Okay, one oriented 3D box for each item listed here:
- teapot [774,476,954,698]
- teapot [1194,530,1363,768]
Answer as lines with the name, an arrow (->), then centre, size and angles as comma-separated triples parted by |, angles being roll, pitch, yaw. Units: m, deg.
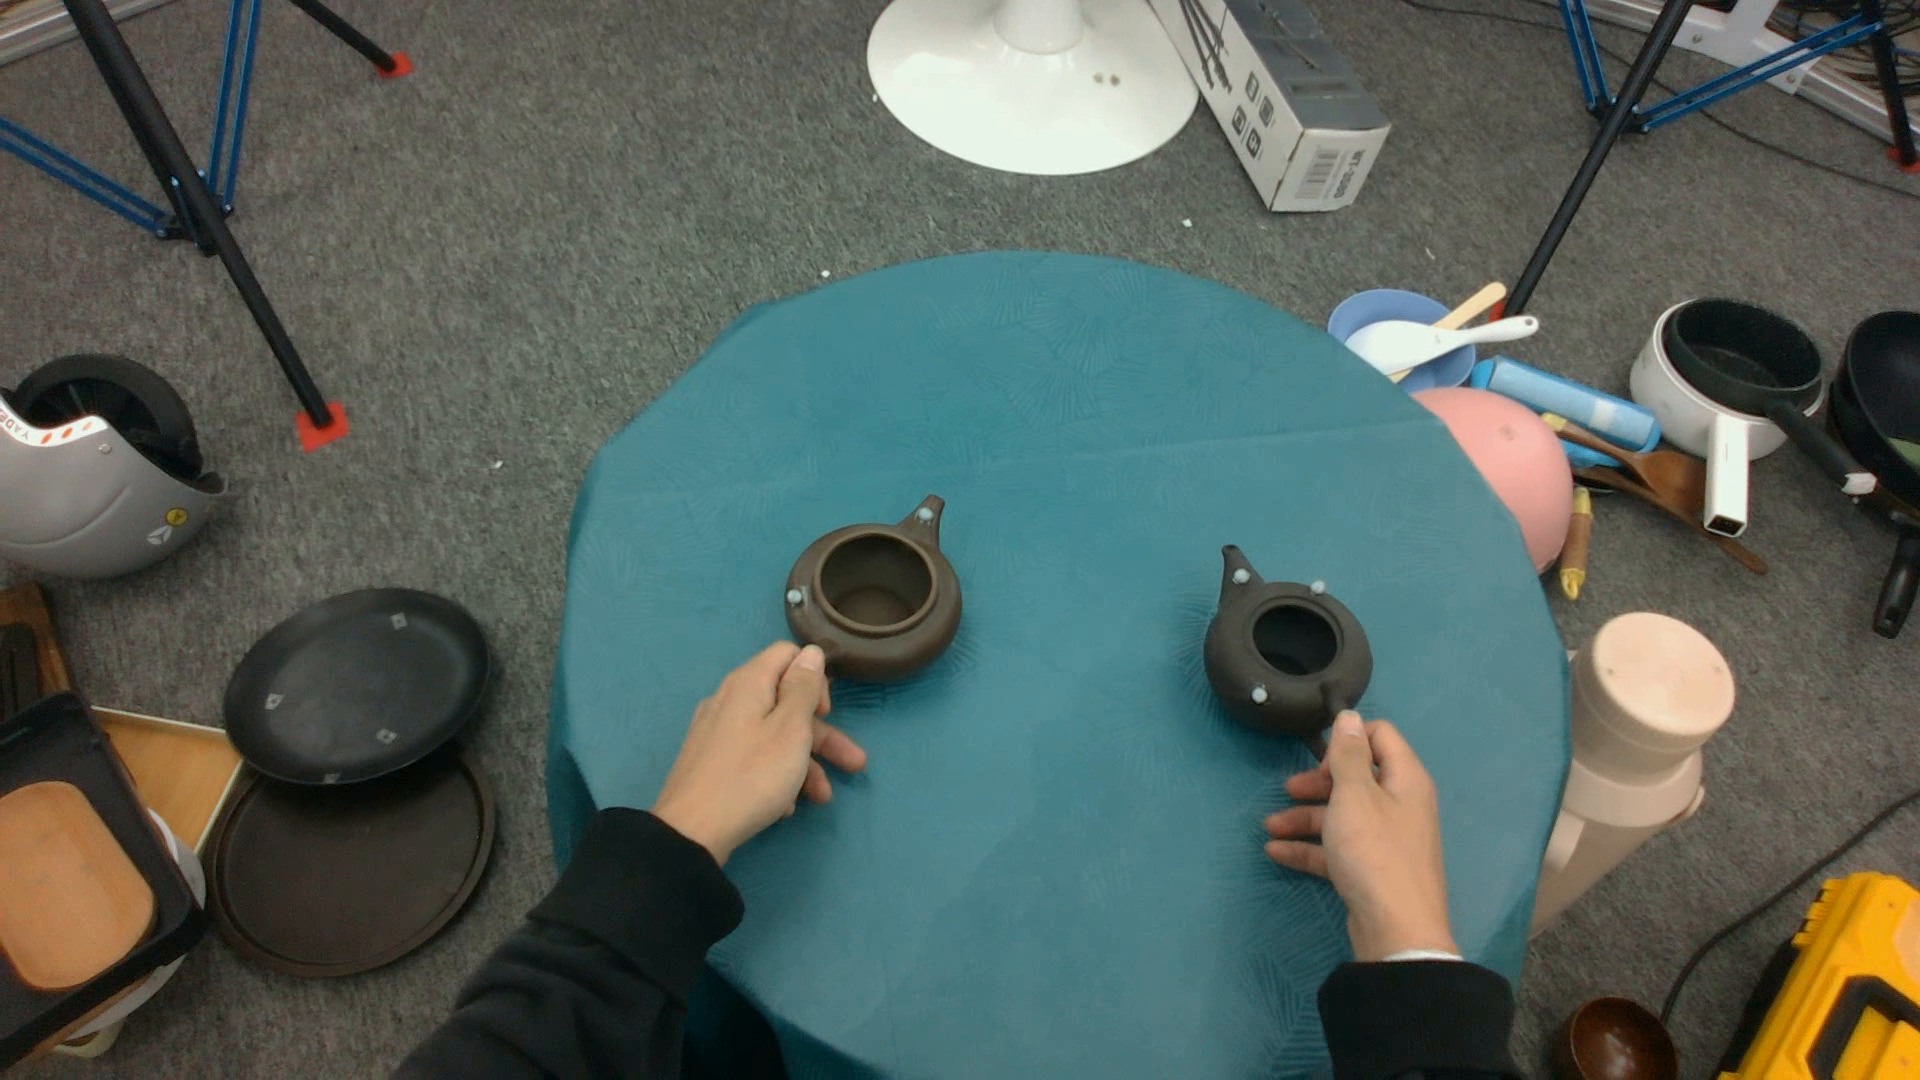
teapot -> -0.056, 0.028, 0.782 | 0.102, 0.053, 0.154 | 22, 52, 10
teapot -> 0.180, 0.062, 0.777 | 0.092, 0.064, 0.154 | -17, 54, -12
